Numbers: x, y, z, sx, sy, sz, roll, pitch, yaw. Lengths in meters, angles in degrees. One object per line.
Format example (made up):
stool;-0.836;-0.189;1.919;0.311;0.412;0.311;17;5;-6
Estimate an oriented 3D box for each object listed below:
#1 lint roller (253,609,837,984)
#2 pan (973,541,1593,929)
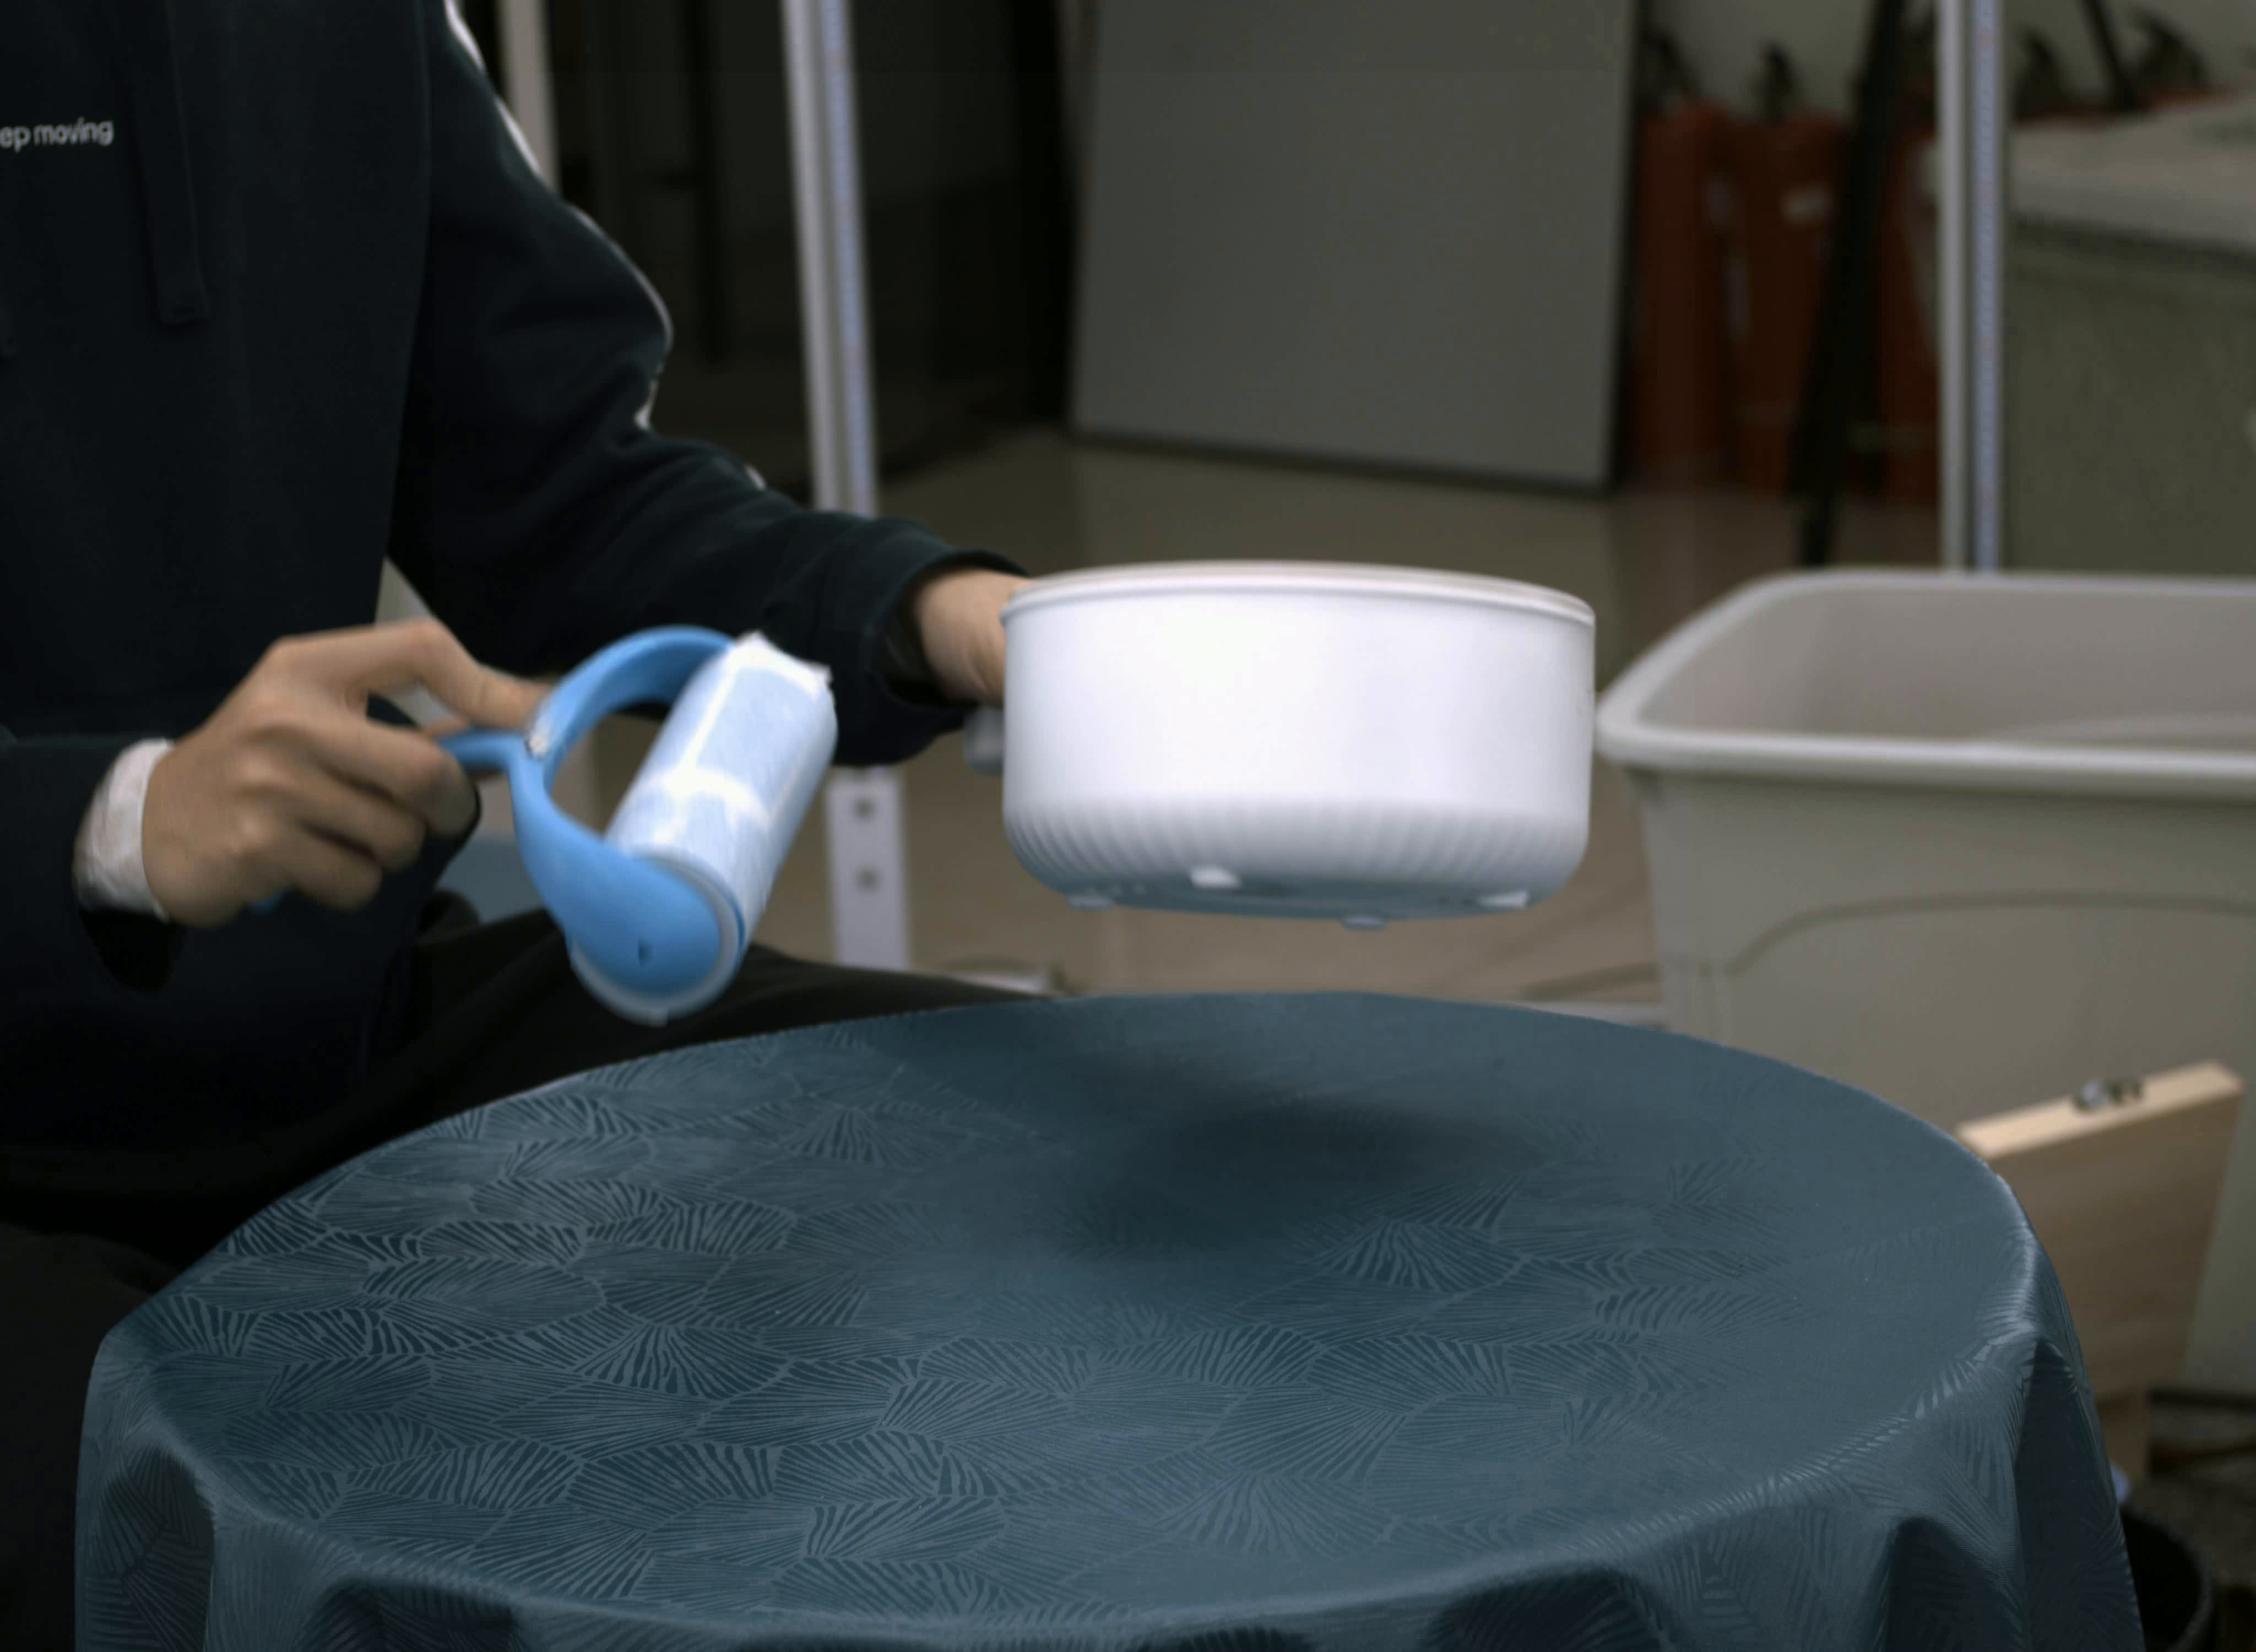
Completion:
lint roller;-0.187;-0.008;1.683;0.178;0.068;0.229;-2;20;4
pan;0.024;-0.016;1.845;0.197;0.103;0.358;4;-8;-22
